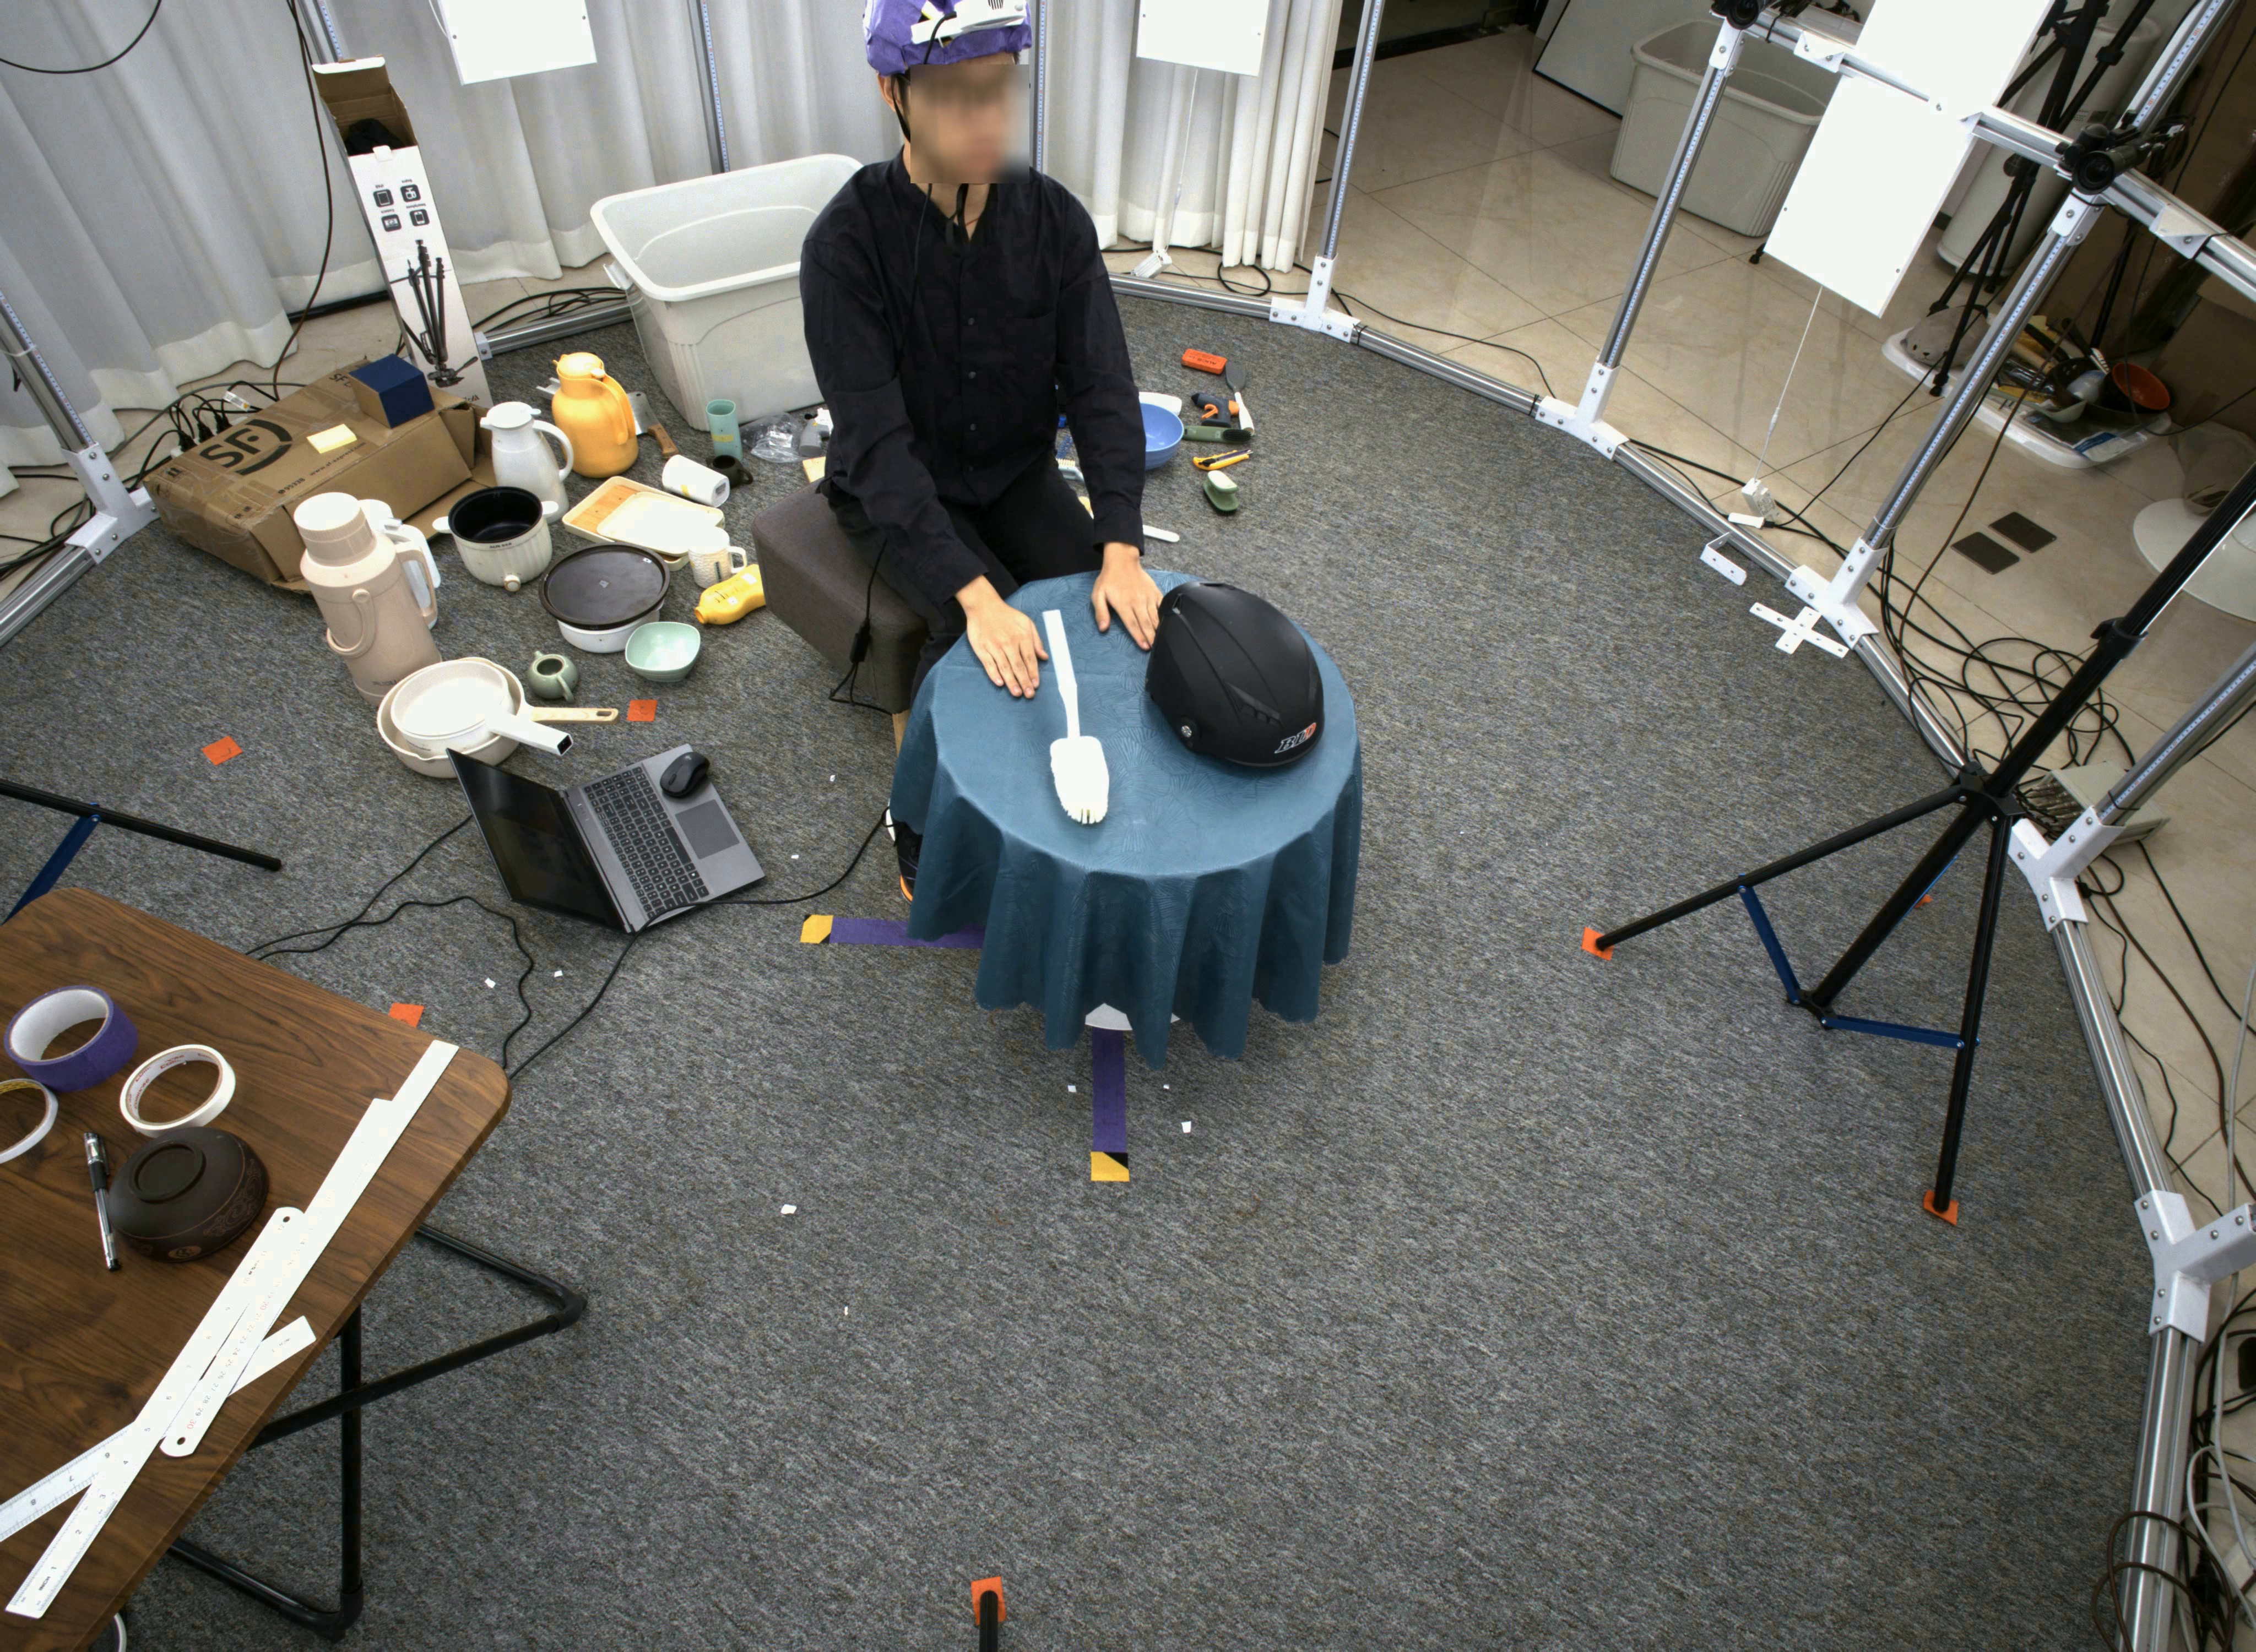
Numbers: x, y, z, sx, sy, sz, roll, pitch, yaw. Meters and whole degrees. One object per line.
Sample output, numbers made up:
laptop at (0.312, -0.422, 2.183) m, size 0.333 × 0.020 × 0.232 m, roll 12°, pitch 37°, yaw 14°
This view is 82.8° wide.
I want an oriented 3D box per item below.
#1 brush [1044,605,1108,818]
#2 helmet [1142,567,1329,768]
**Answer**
brush at (-0.075, -0.153, 1.741) m, size 0.082 × 0.084 × 0.332 m, roll 16°, pitch 52°, yaw -42°
helmet at (0.152, -0.226, 1.769) m, size 0.248 × 0.168 × 0.281 m, roll -28°, pitch 60°, yaw -24°
